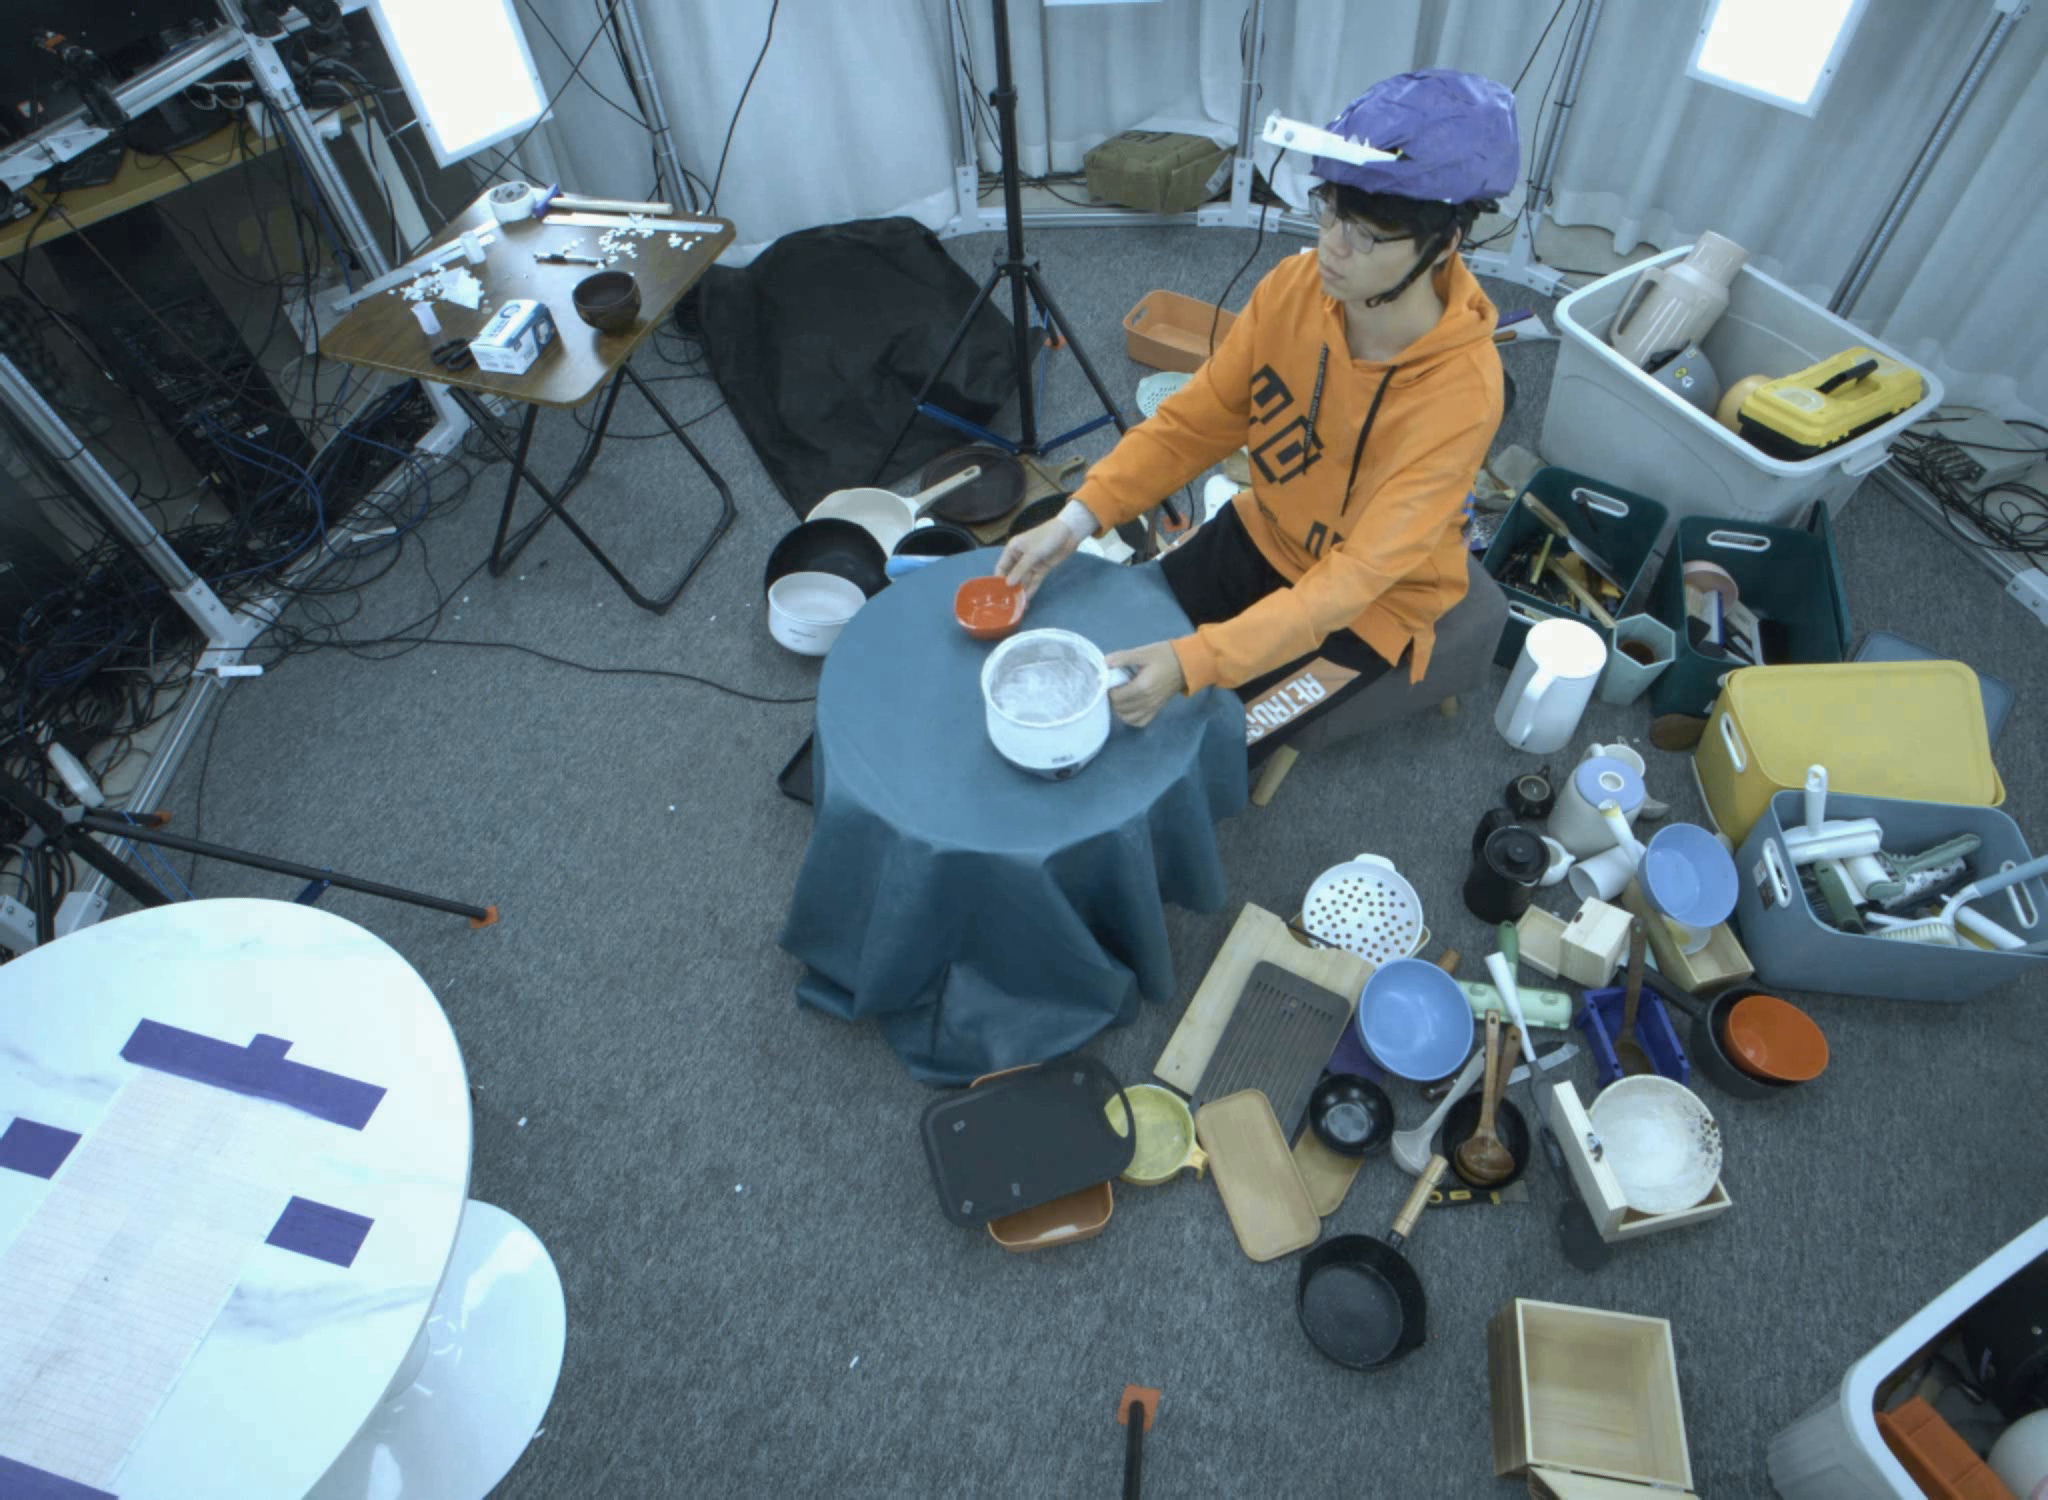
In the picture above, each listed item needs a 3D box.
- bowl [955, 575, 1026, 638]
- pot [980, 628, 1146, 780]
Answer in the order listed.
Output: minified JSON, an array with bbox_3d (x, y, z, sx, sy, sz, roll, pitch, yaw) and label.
[{"bbox_3d":[-0.051,-0.215,1.910,0.119,0.052,0.117,-1,54,3],"label":"bowl"},{"bbox_3d":[0.059,-0.072,1.751,0.235,0.138,0.176,-14,56,-7],"label":"pot"}]
